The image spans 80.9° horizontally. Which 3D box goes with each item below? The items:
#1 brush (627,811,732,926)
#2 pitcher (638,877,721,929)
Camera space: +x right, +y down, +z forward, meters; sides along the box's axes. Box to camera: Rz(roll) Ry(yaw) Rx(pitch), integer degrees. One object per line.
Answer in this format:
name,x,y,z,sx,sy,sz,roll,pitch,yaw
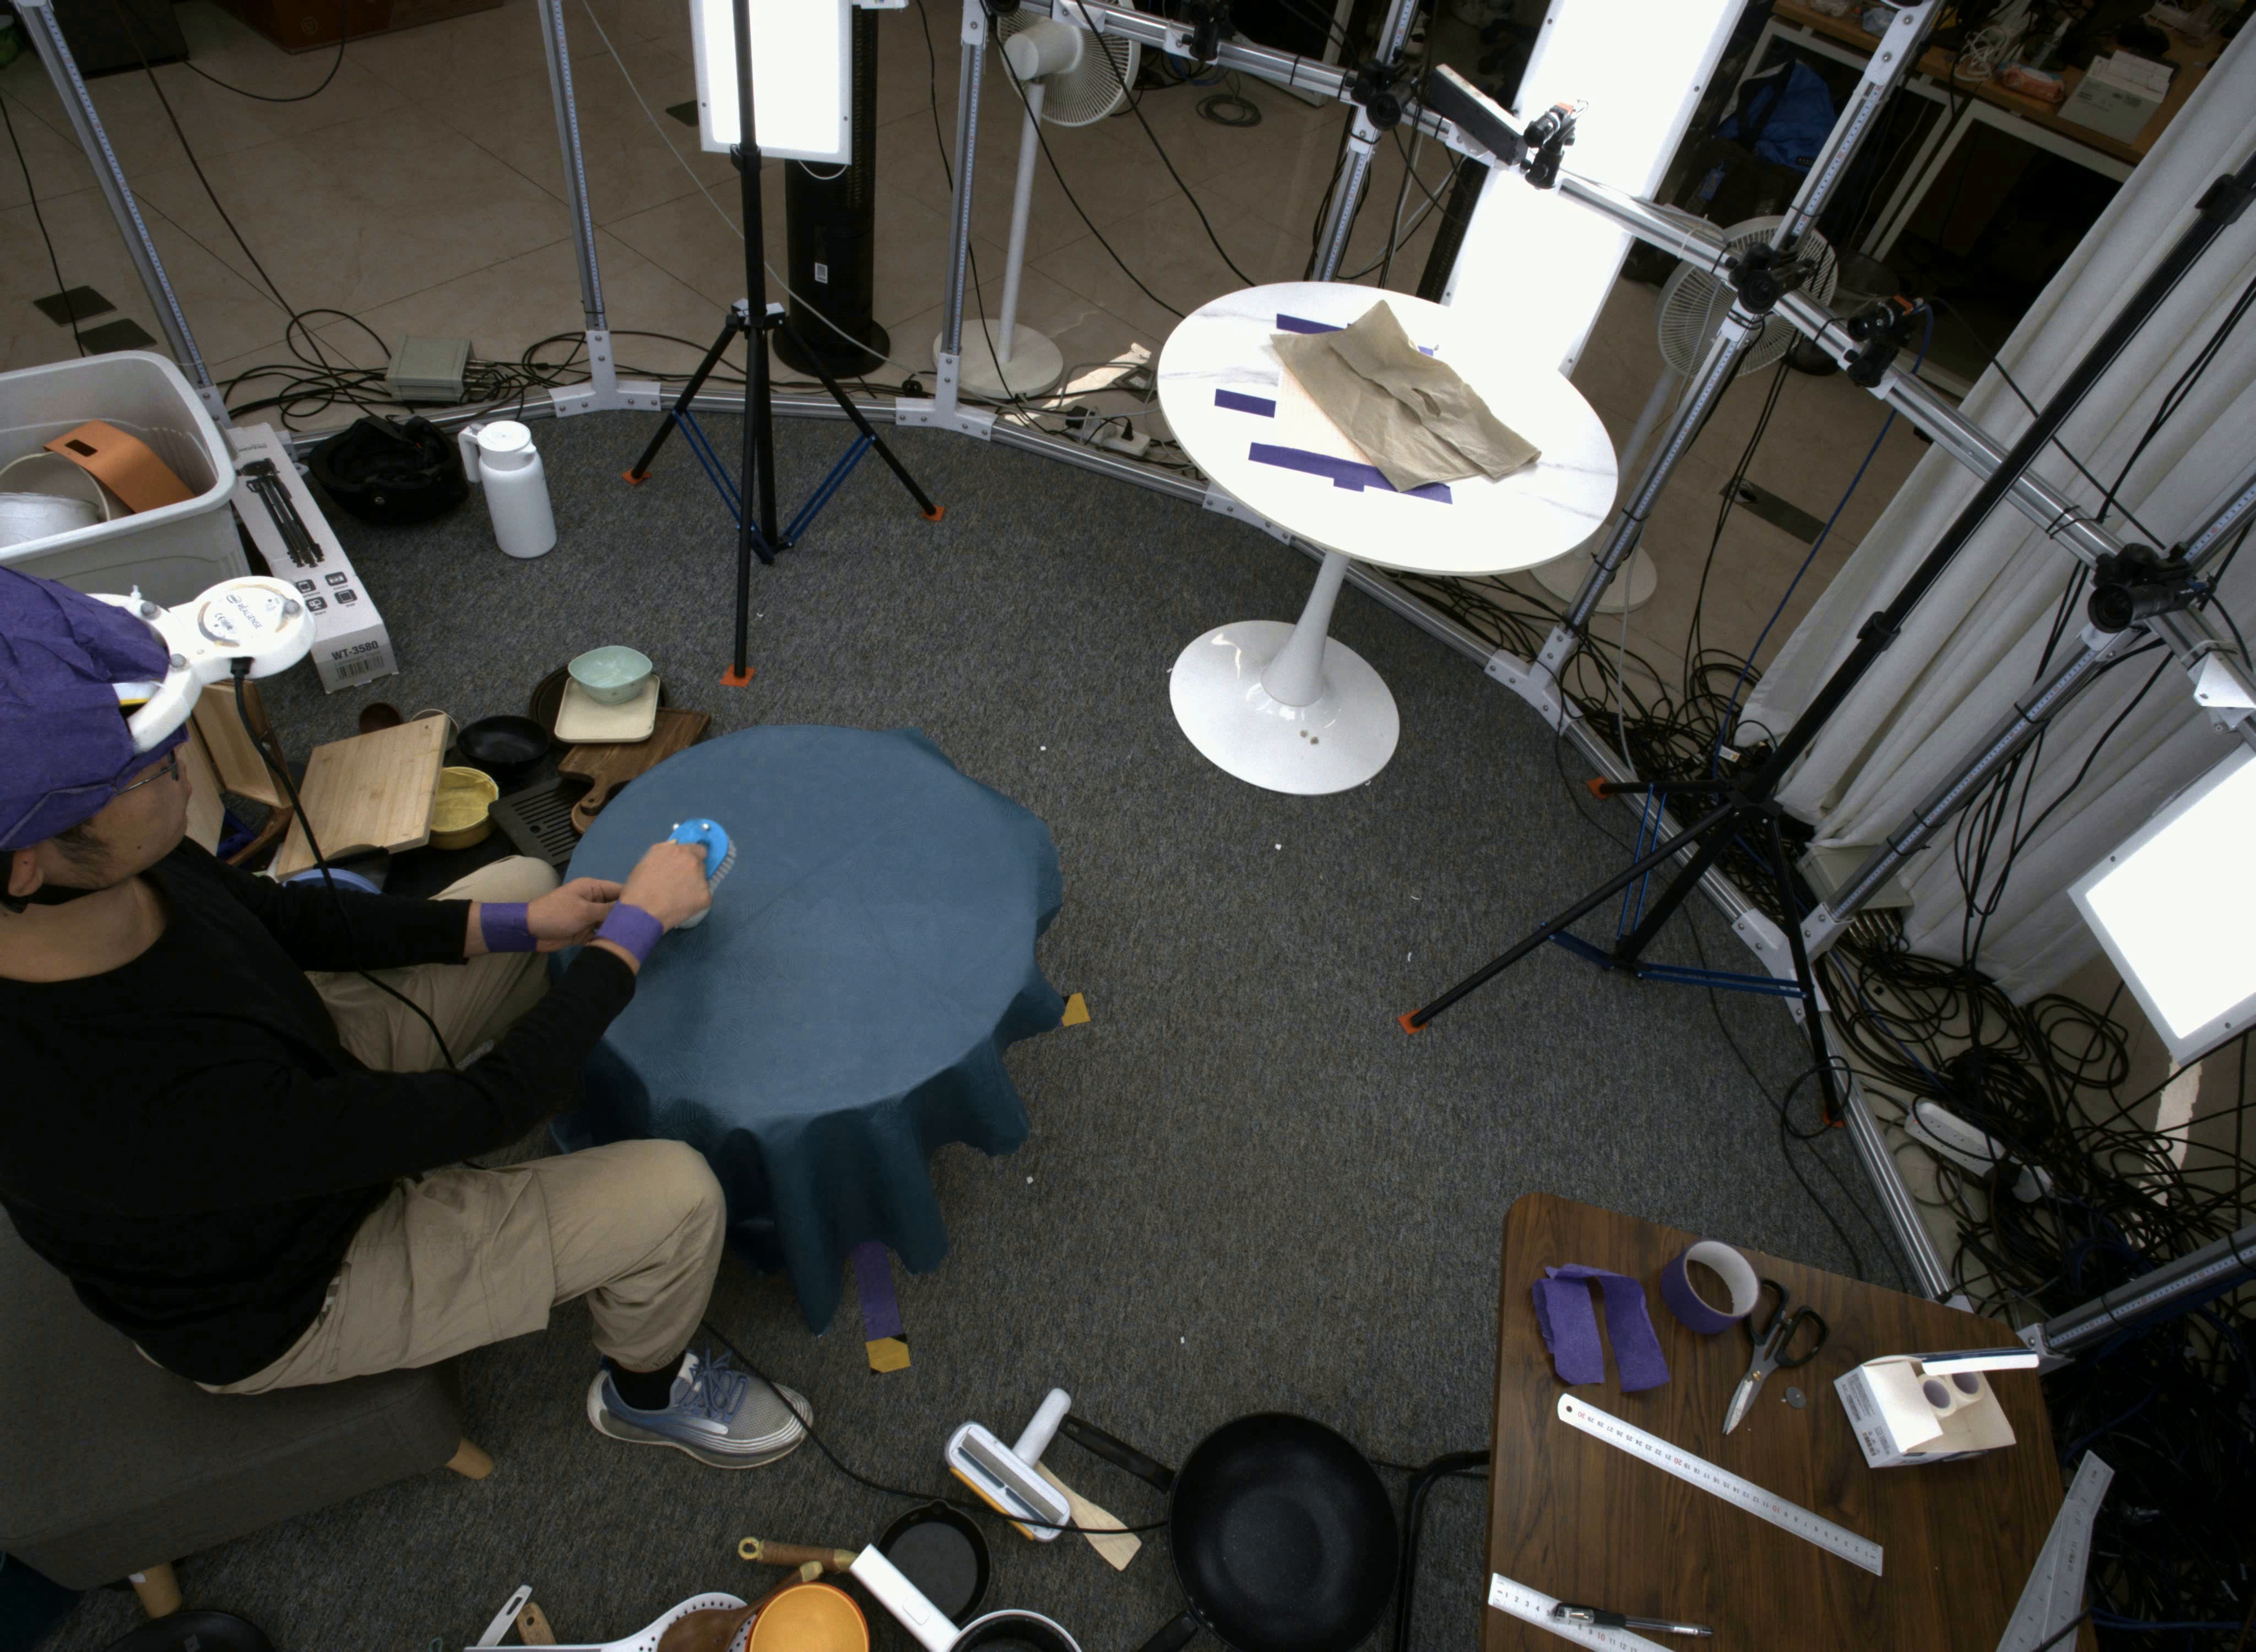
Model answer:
brush,-0.529,0.044,1.511,0.083,0.064,0.141,31,70,6
pitcher,-0.545,0.082,1.579,0.120,0.090,0.073,-27,57,-33
